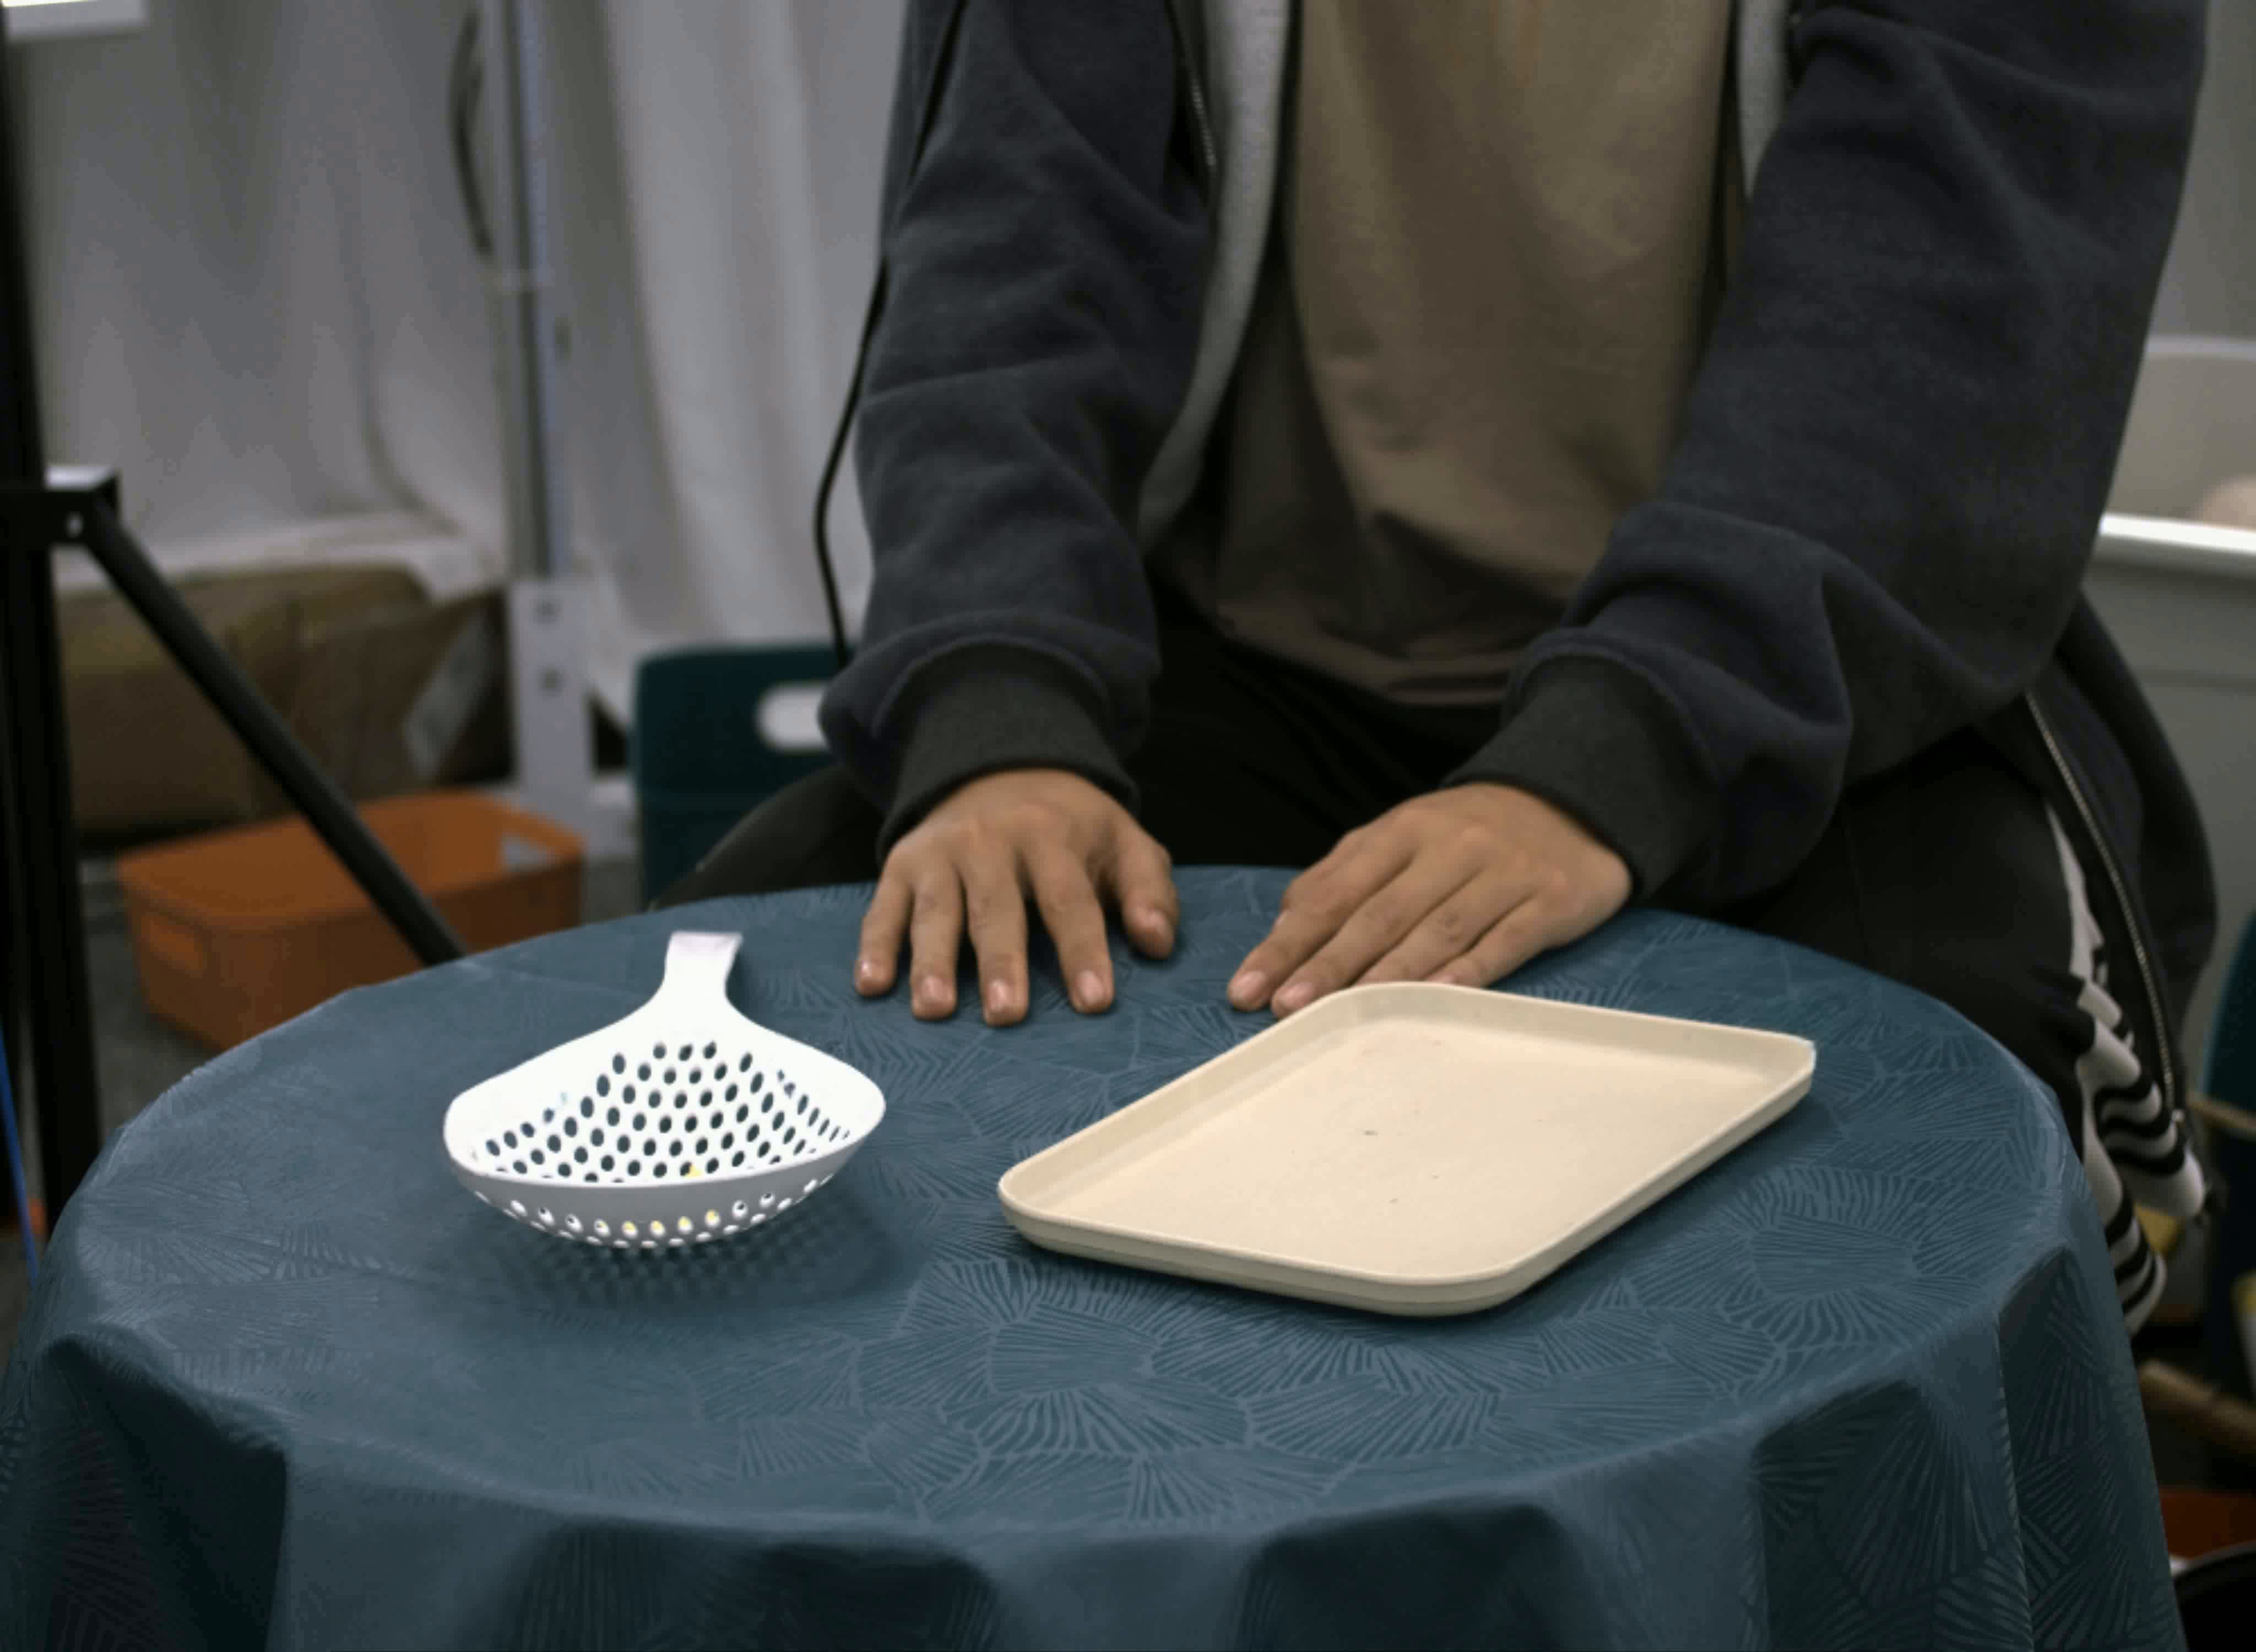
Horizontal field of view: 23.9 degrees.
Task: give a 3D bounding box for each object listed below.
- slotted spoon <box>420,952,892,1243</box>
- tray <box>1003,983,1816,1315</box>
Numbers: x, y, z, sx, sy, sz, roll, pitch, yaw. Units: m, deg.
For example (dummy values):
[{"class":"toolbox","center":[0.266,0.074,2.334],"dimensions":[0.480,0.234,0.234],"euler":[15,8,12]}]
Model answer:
[{"class":"slotted spoon","center":[-0.137,0.069,1.646],"dimensions":[0.136,0.050,0.349],"euler":[-6,15,0]},{"class":"tray","center":[0.086,0.094,1.563],"dimensions":[0.174,0.017,0.235],"euler":[7,18,33]}]
